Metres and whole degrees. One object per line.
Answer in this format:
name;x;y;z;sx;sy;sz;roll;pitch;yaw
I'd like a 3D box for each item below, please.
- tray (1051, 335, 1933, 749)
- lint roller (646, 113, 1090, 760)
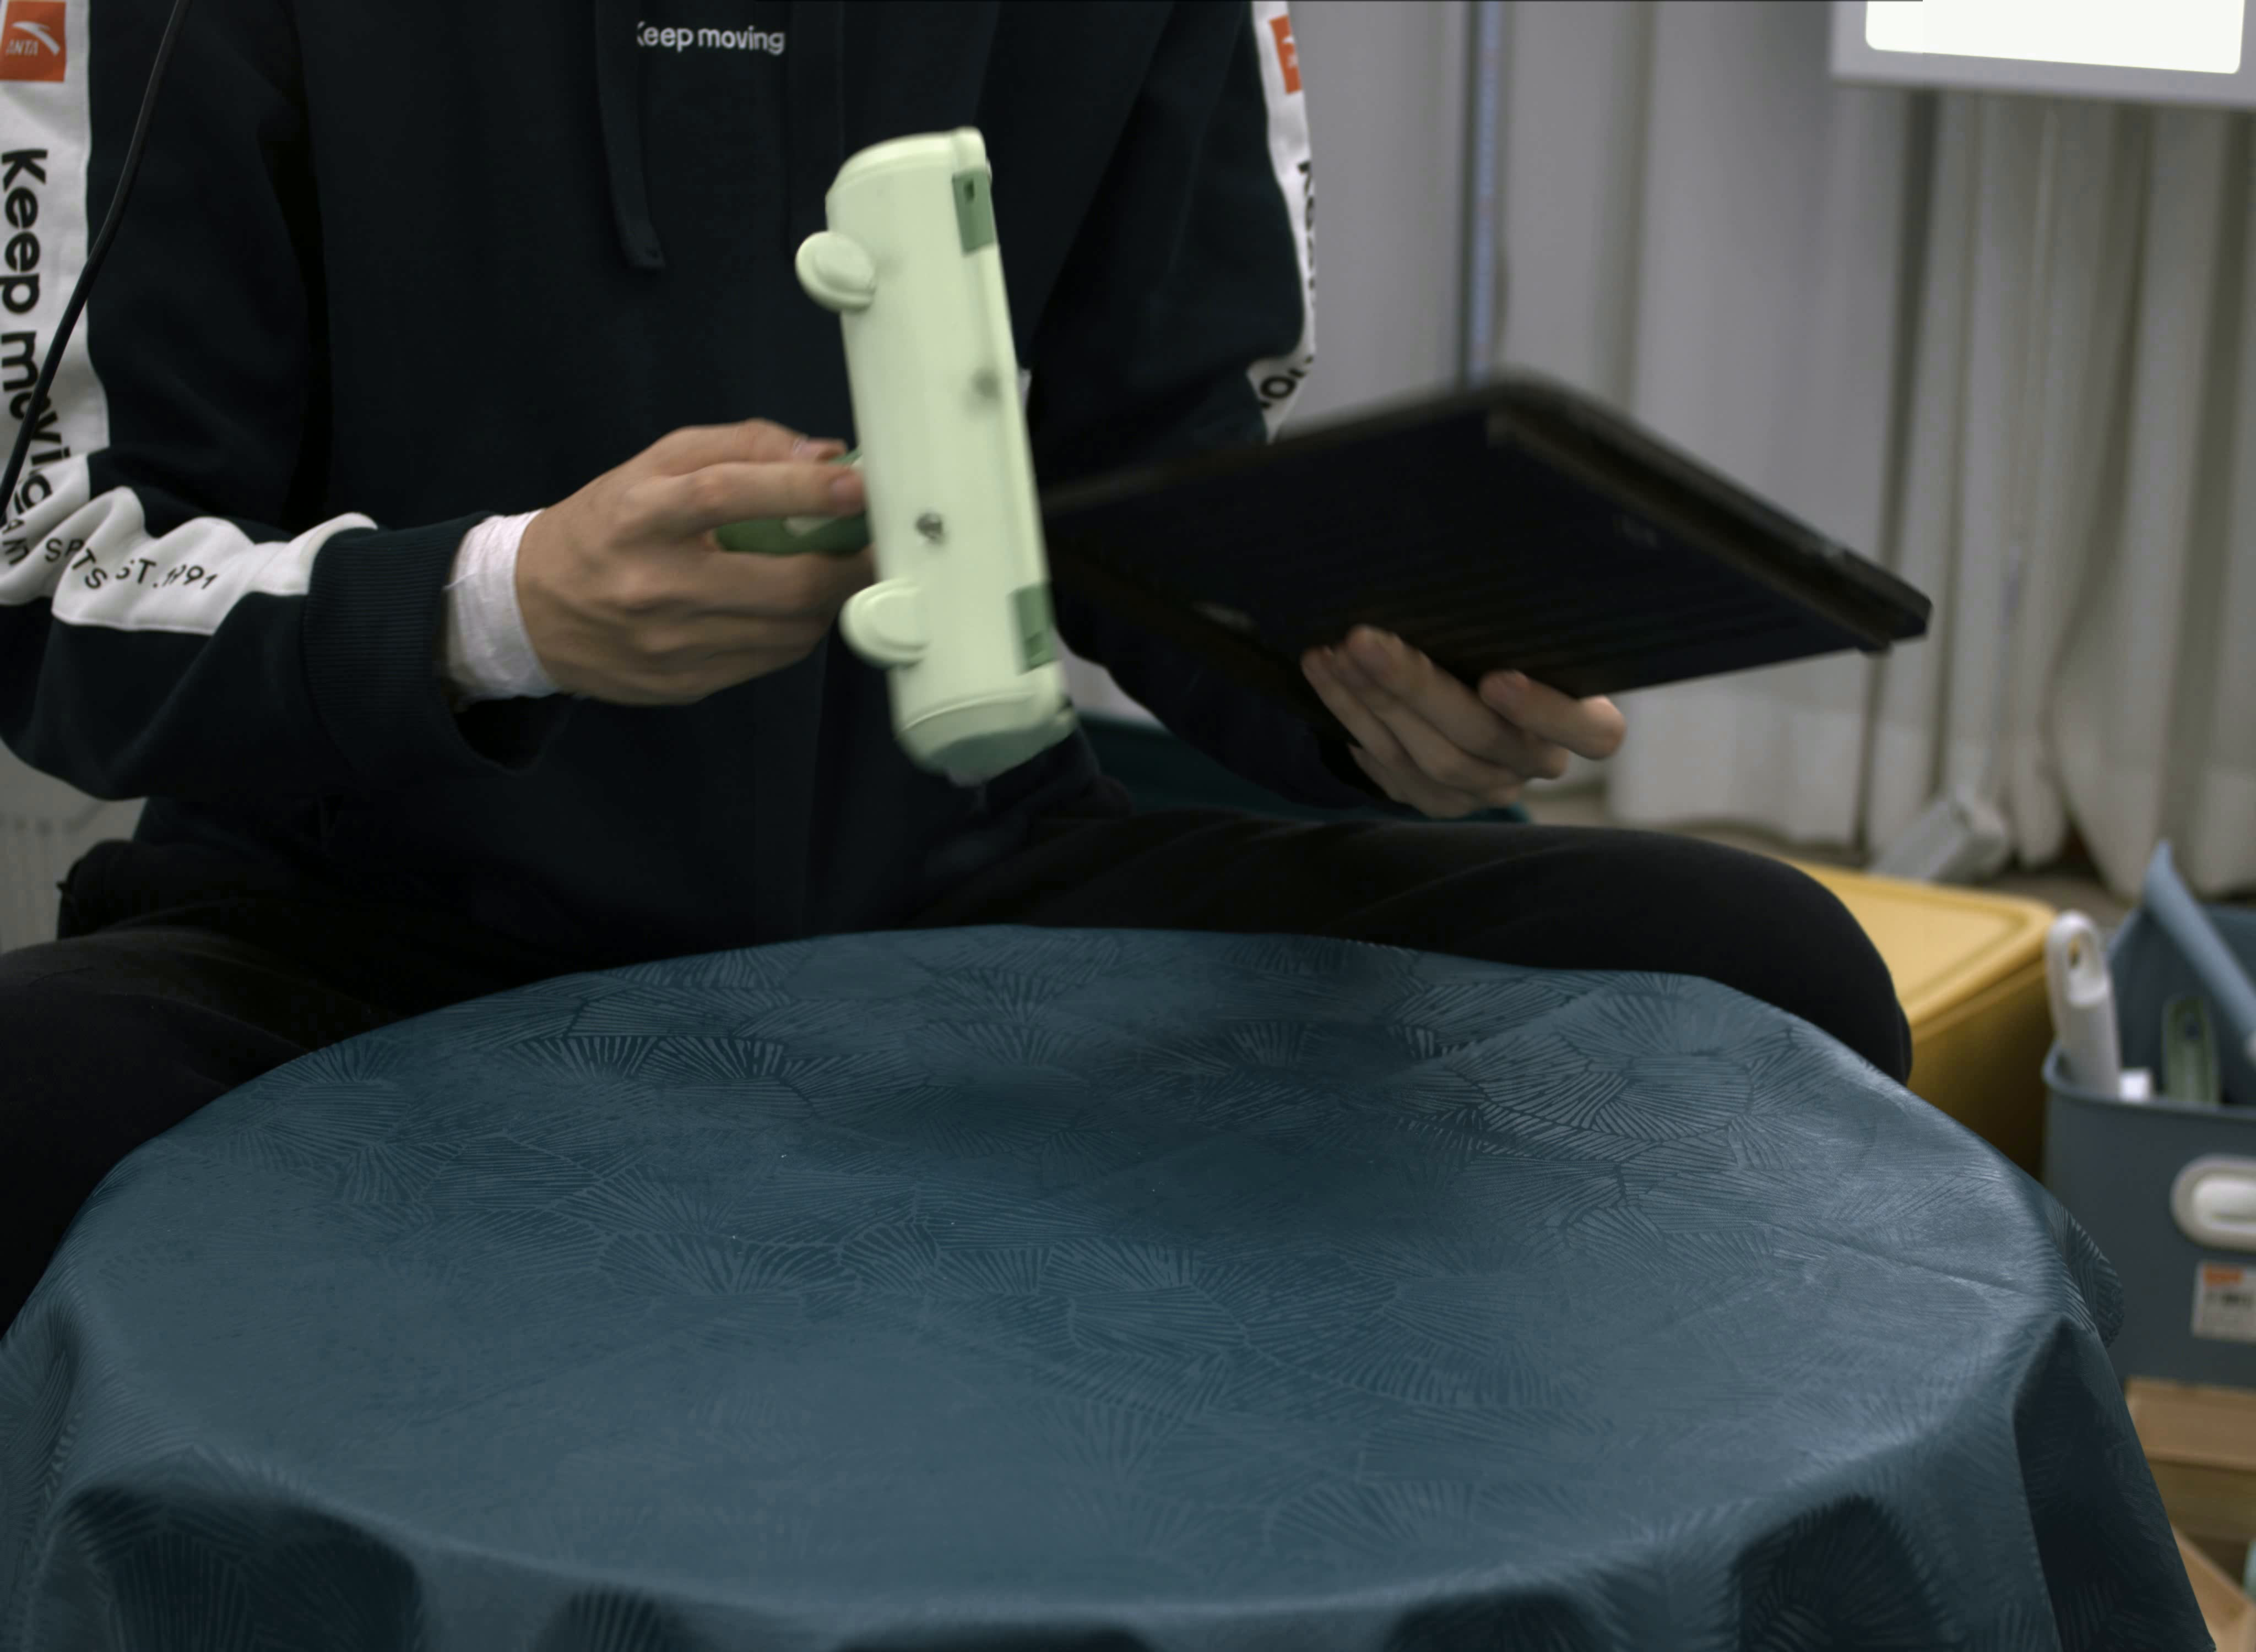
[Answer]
tray;0.096;-0.082;1.658;0.172;0.018;0.303;30;-22;-27
lint roller;-0.101;-0.106;1.658;0.182;0.198;0.083;-18;-13;32
